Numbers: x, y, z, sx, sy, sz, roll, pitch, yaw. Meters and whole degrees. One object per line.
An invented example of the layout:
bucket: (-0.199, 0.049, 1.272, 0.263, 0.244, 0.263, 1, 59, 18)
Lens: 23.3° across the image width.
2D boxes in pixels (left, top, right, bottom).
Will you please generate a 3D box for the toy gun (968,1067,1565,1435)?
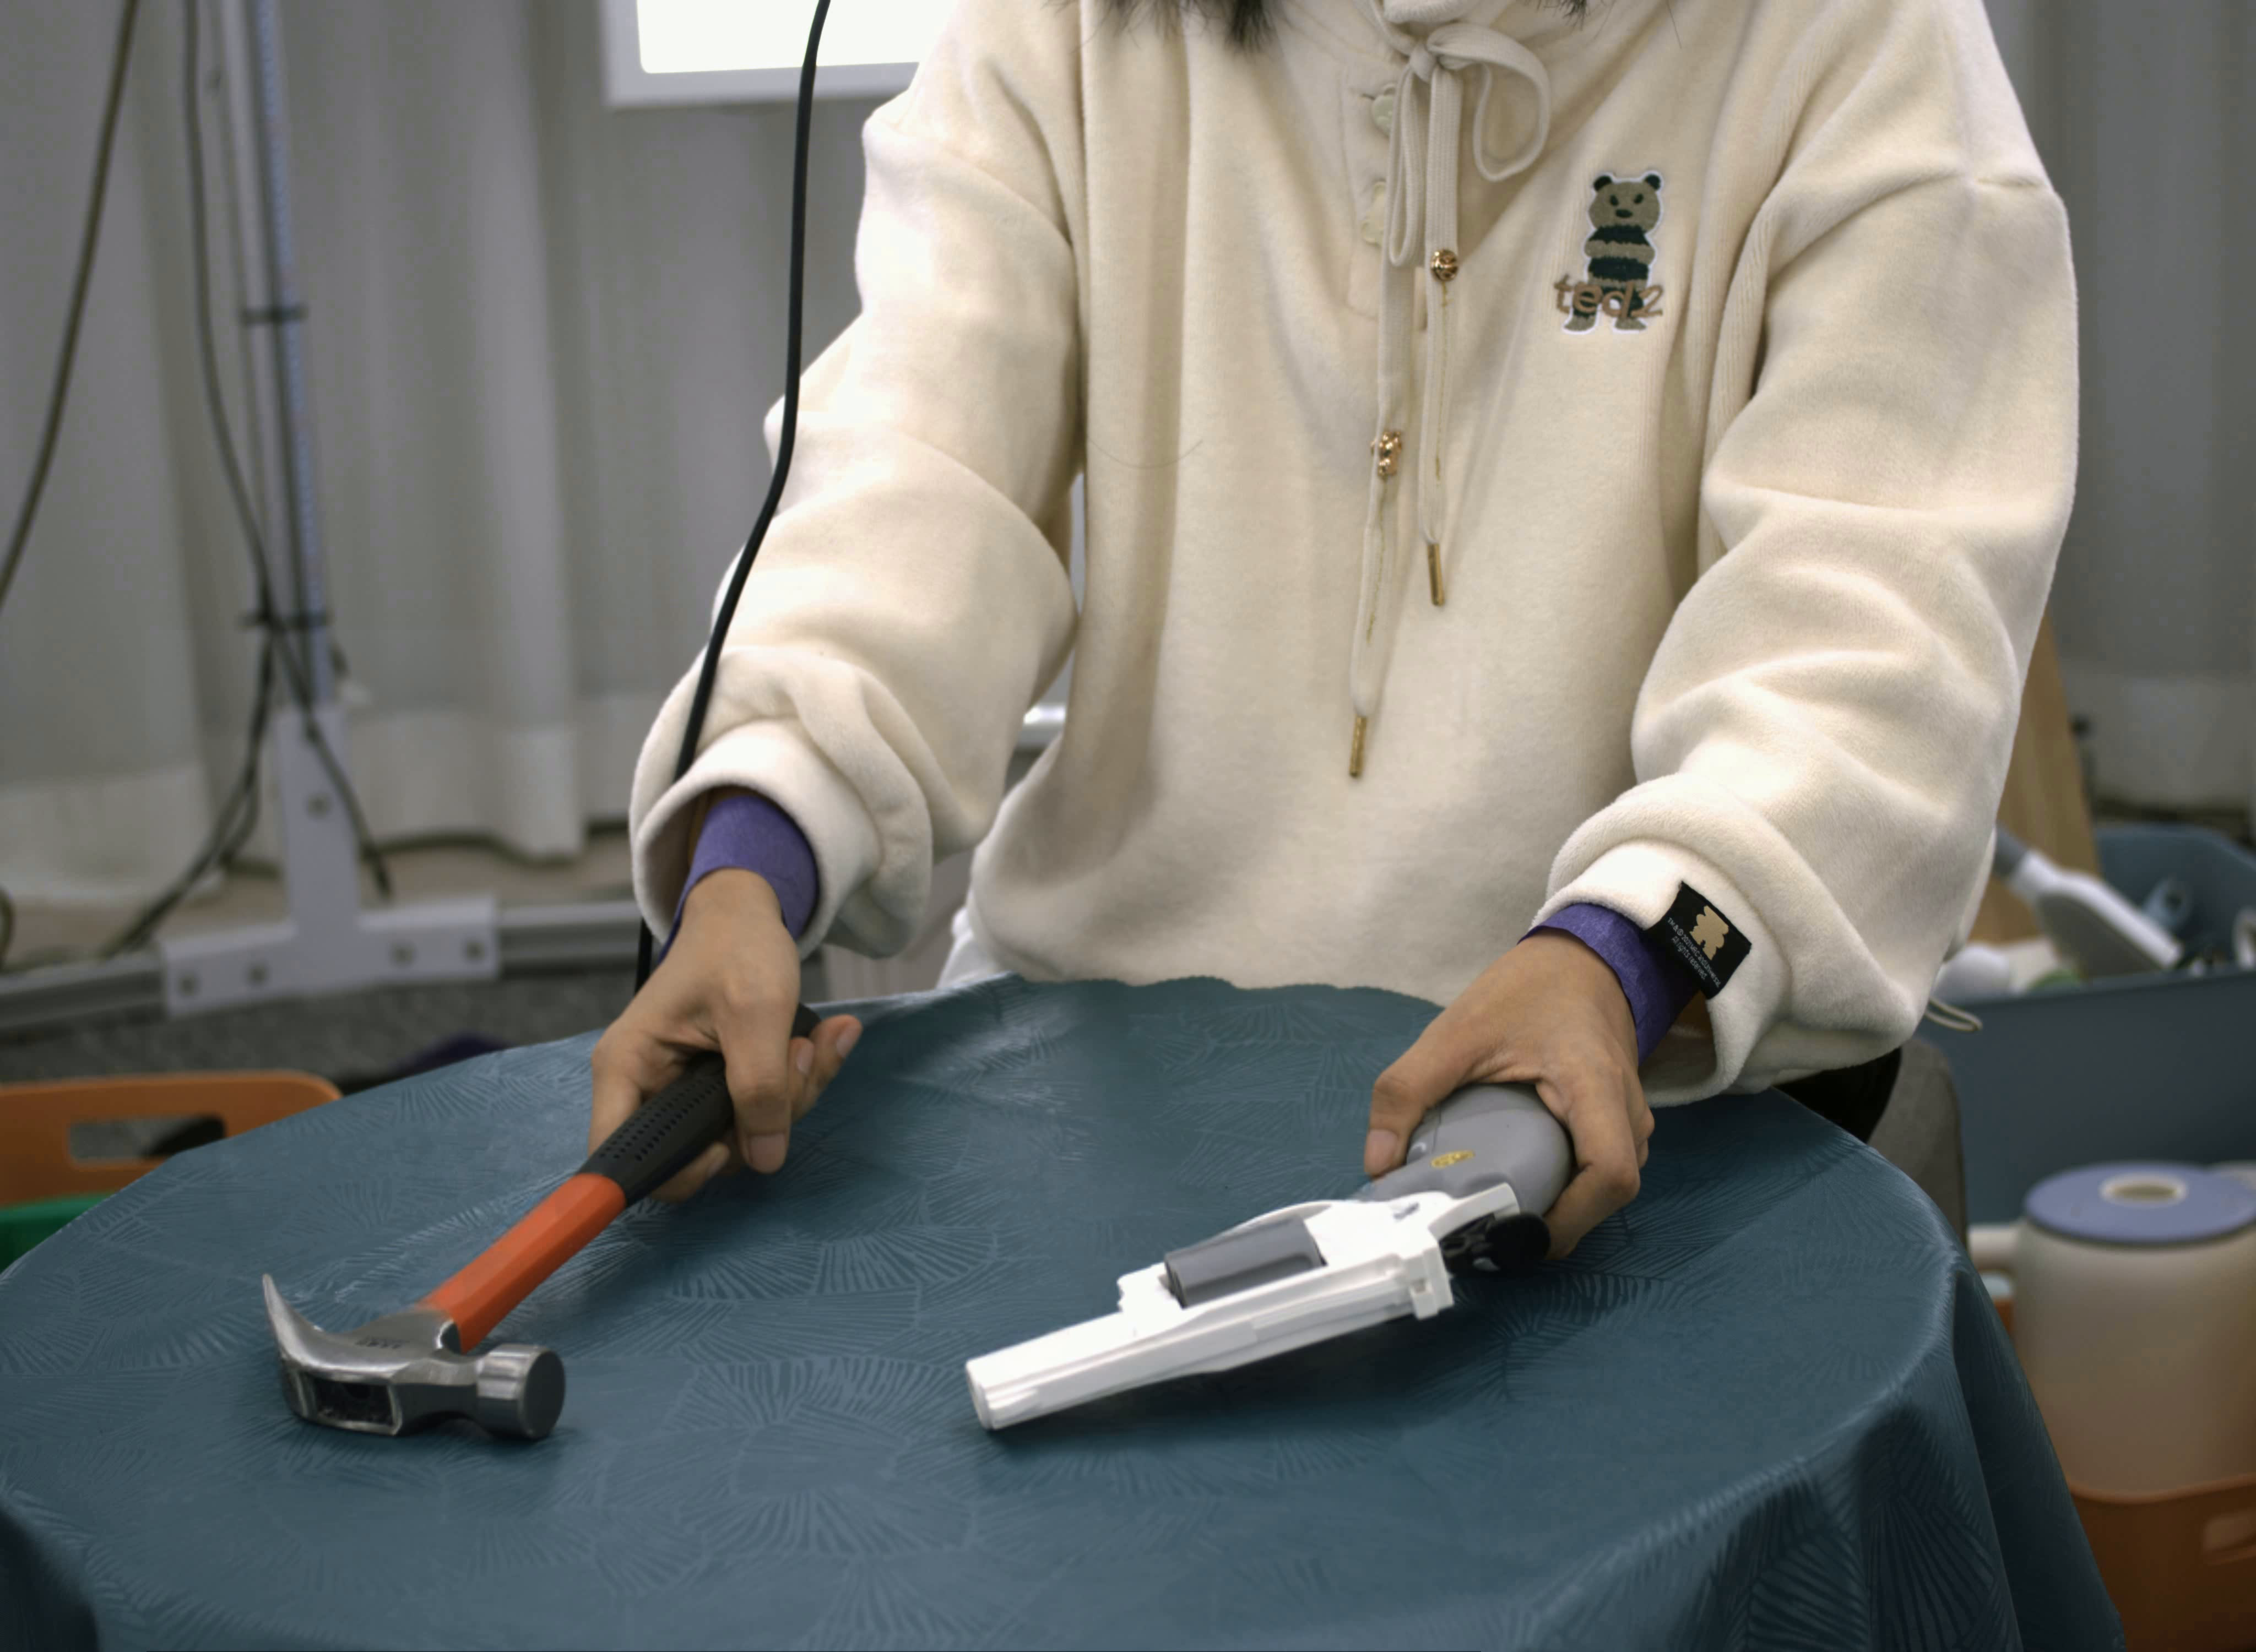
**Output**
toy gun: (0.045, 0.123, 1.577, 0.208, 0.038, 0.142, -16, 12, -10)

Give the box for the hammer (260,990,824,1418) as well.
hammer: (-0.166, 0.111, 1.656, 0.110, 0.026, 0.278, -6, 17, 26)
